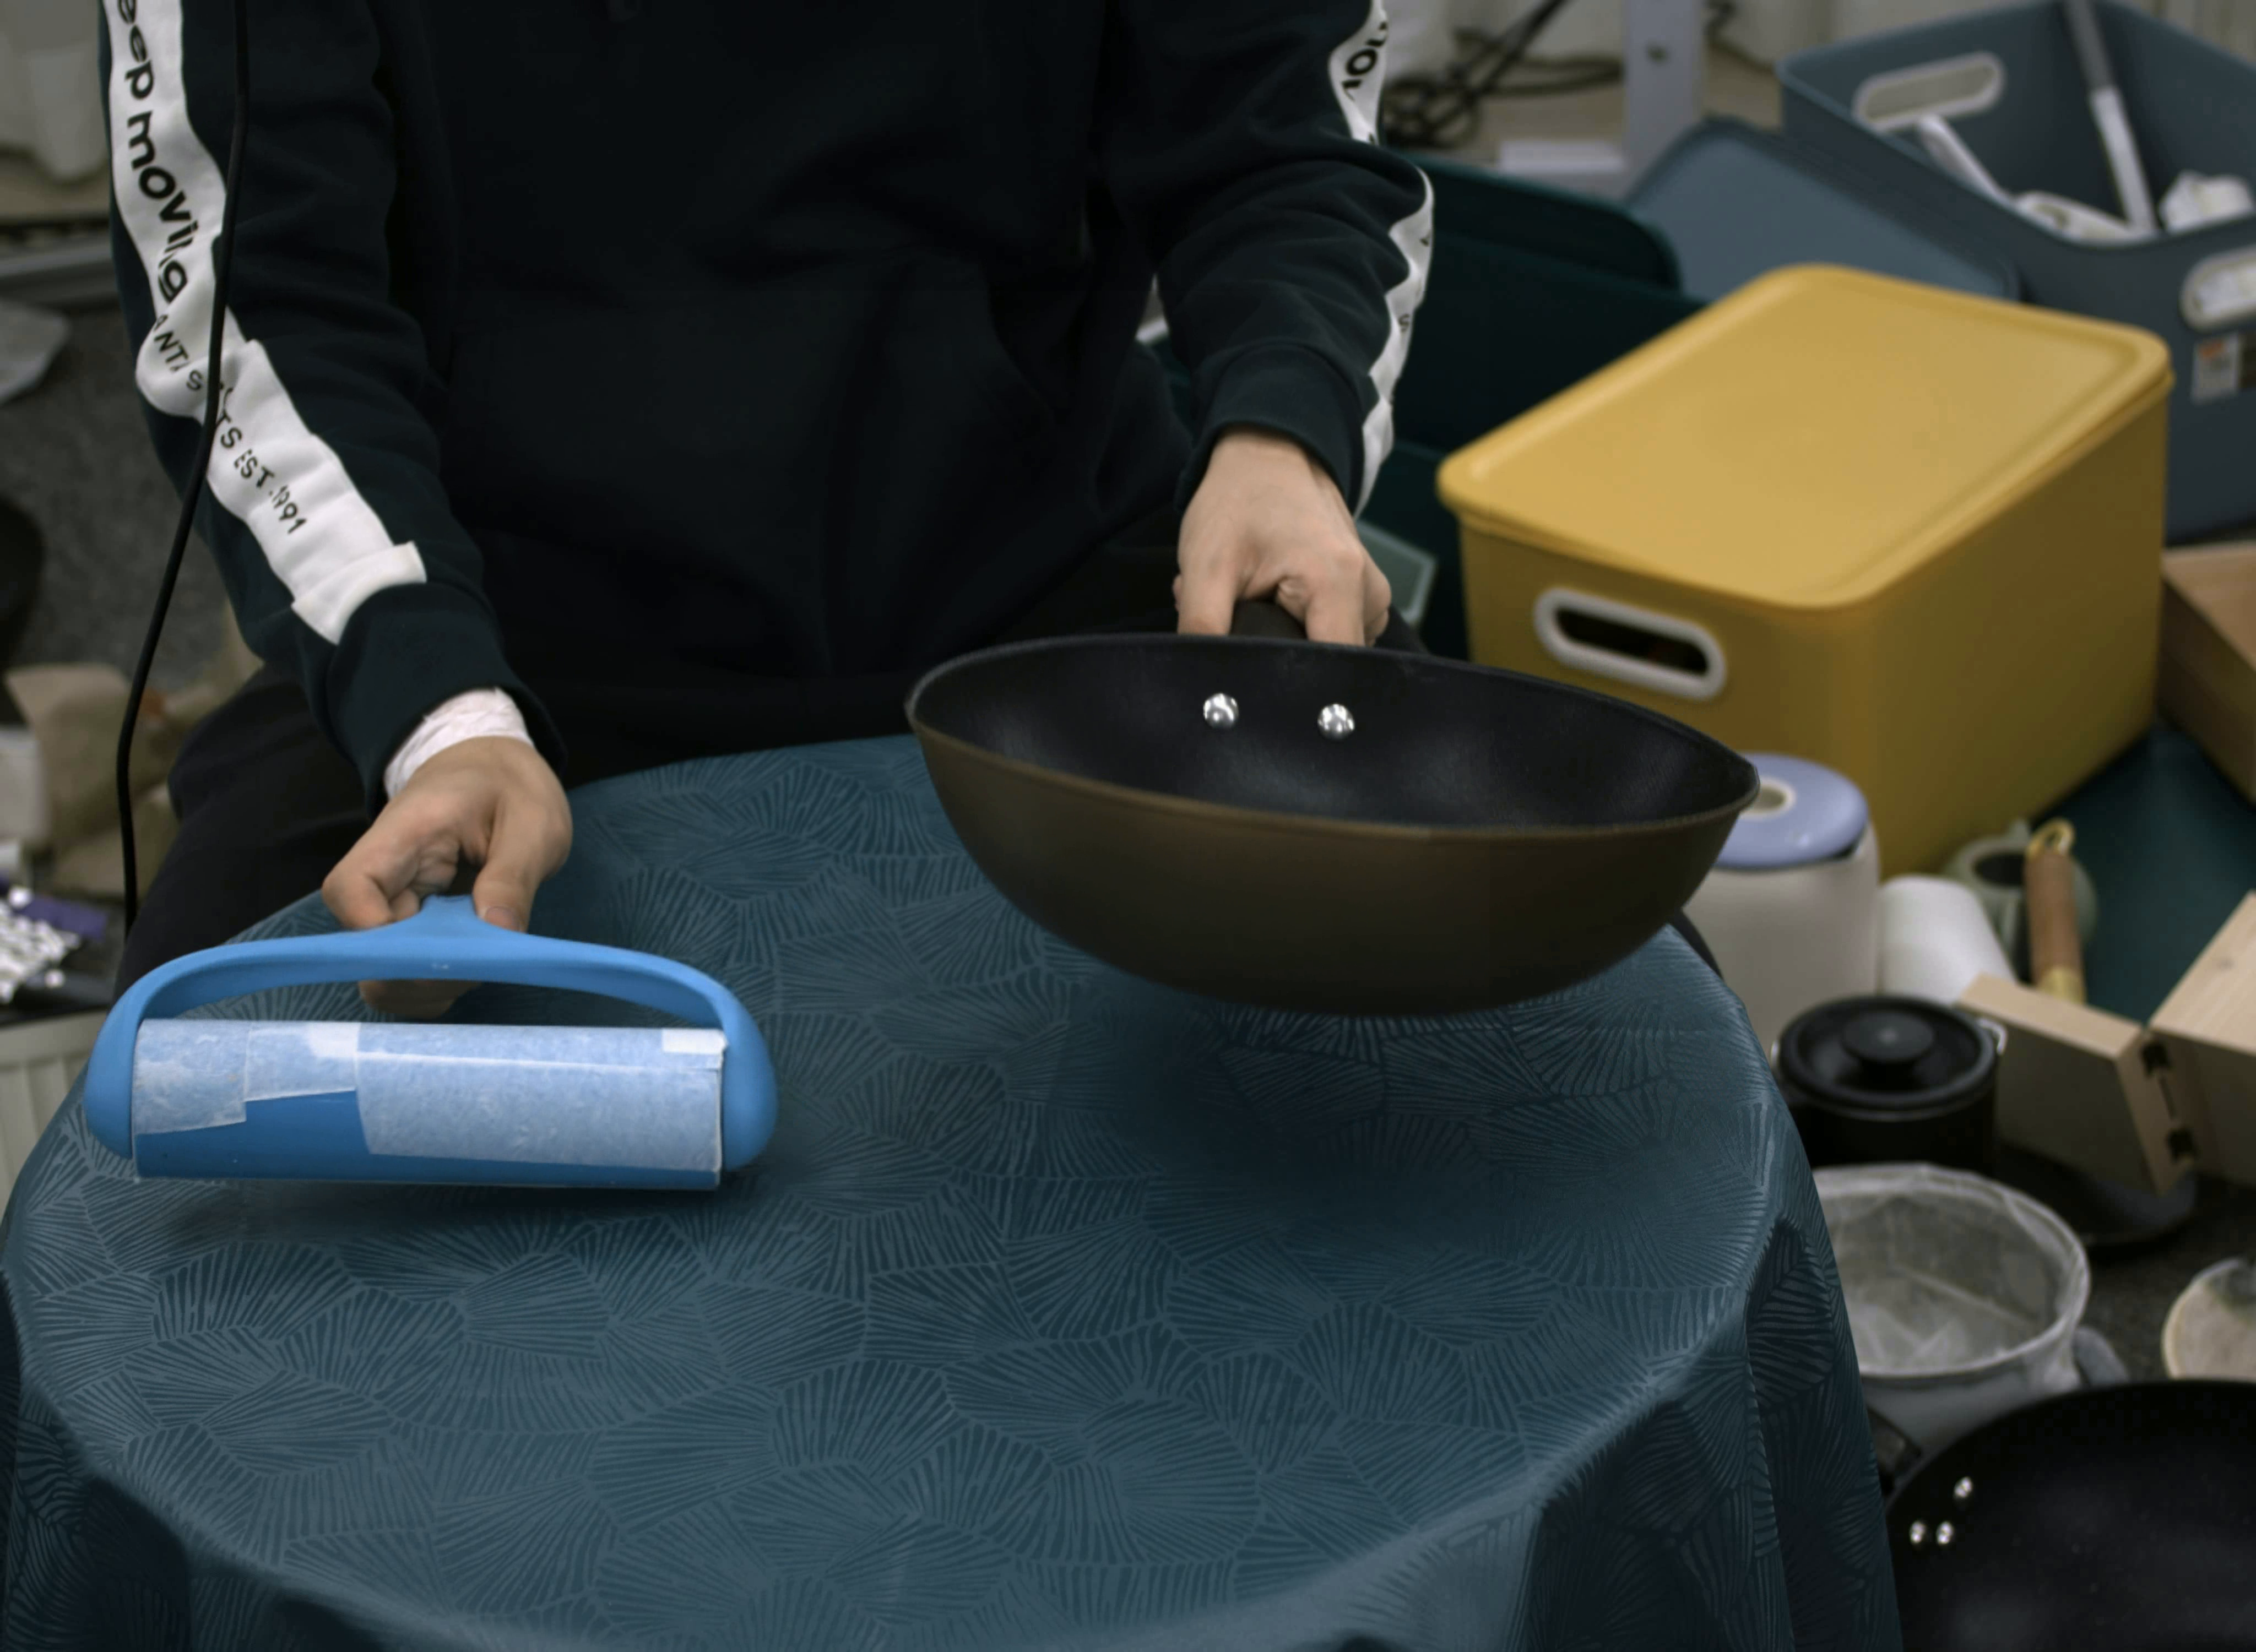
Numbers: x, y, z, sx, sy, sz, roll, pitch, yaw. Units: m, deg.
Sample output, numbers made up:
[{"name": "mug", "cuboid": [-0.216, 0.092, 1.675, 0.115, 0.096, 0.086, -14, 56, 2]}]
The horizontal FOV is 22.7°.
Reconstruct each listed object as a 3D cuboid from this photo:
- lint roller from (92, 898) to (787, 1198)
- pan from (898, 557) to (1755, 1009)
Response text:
[{"name": "lint roller", "cuboid": [-0.233, 0.062, 1.908, 0.228, 0.067, 0.183, -2, 33, -6]}, {"name": "pan", "cuboid": [0.054, -0.018, 1.959, 0.287, 0.086, 0.466, 6, 12, -7]}]
